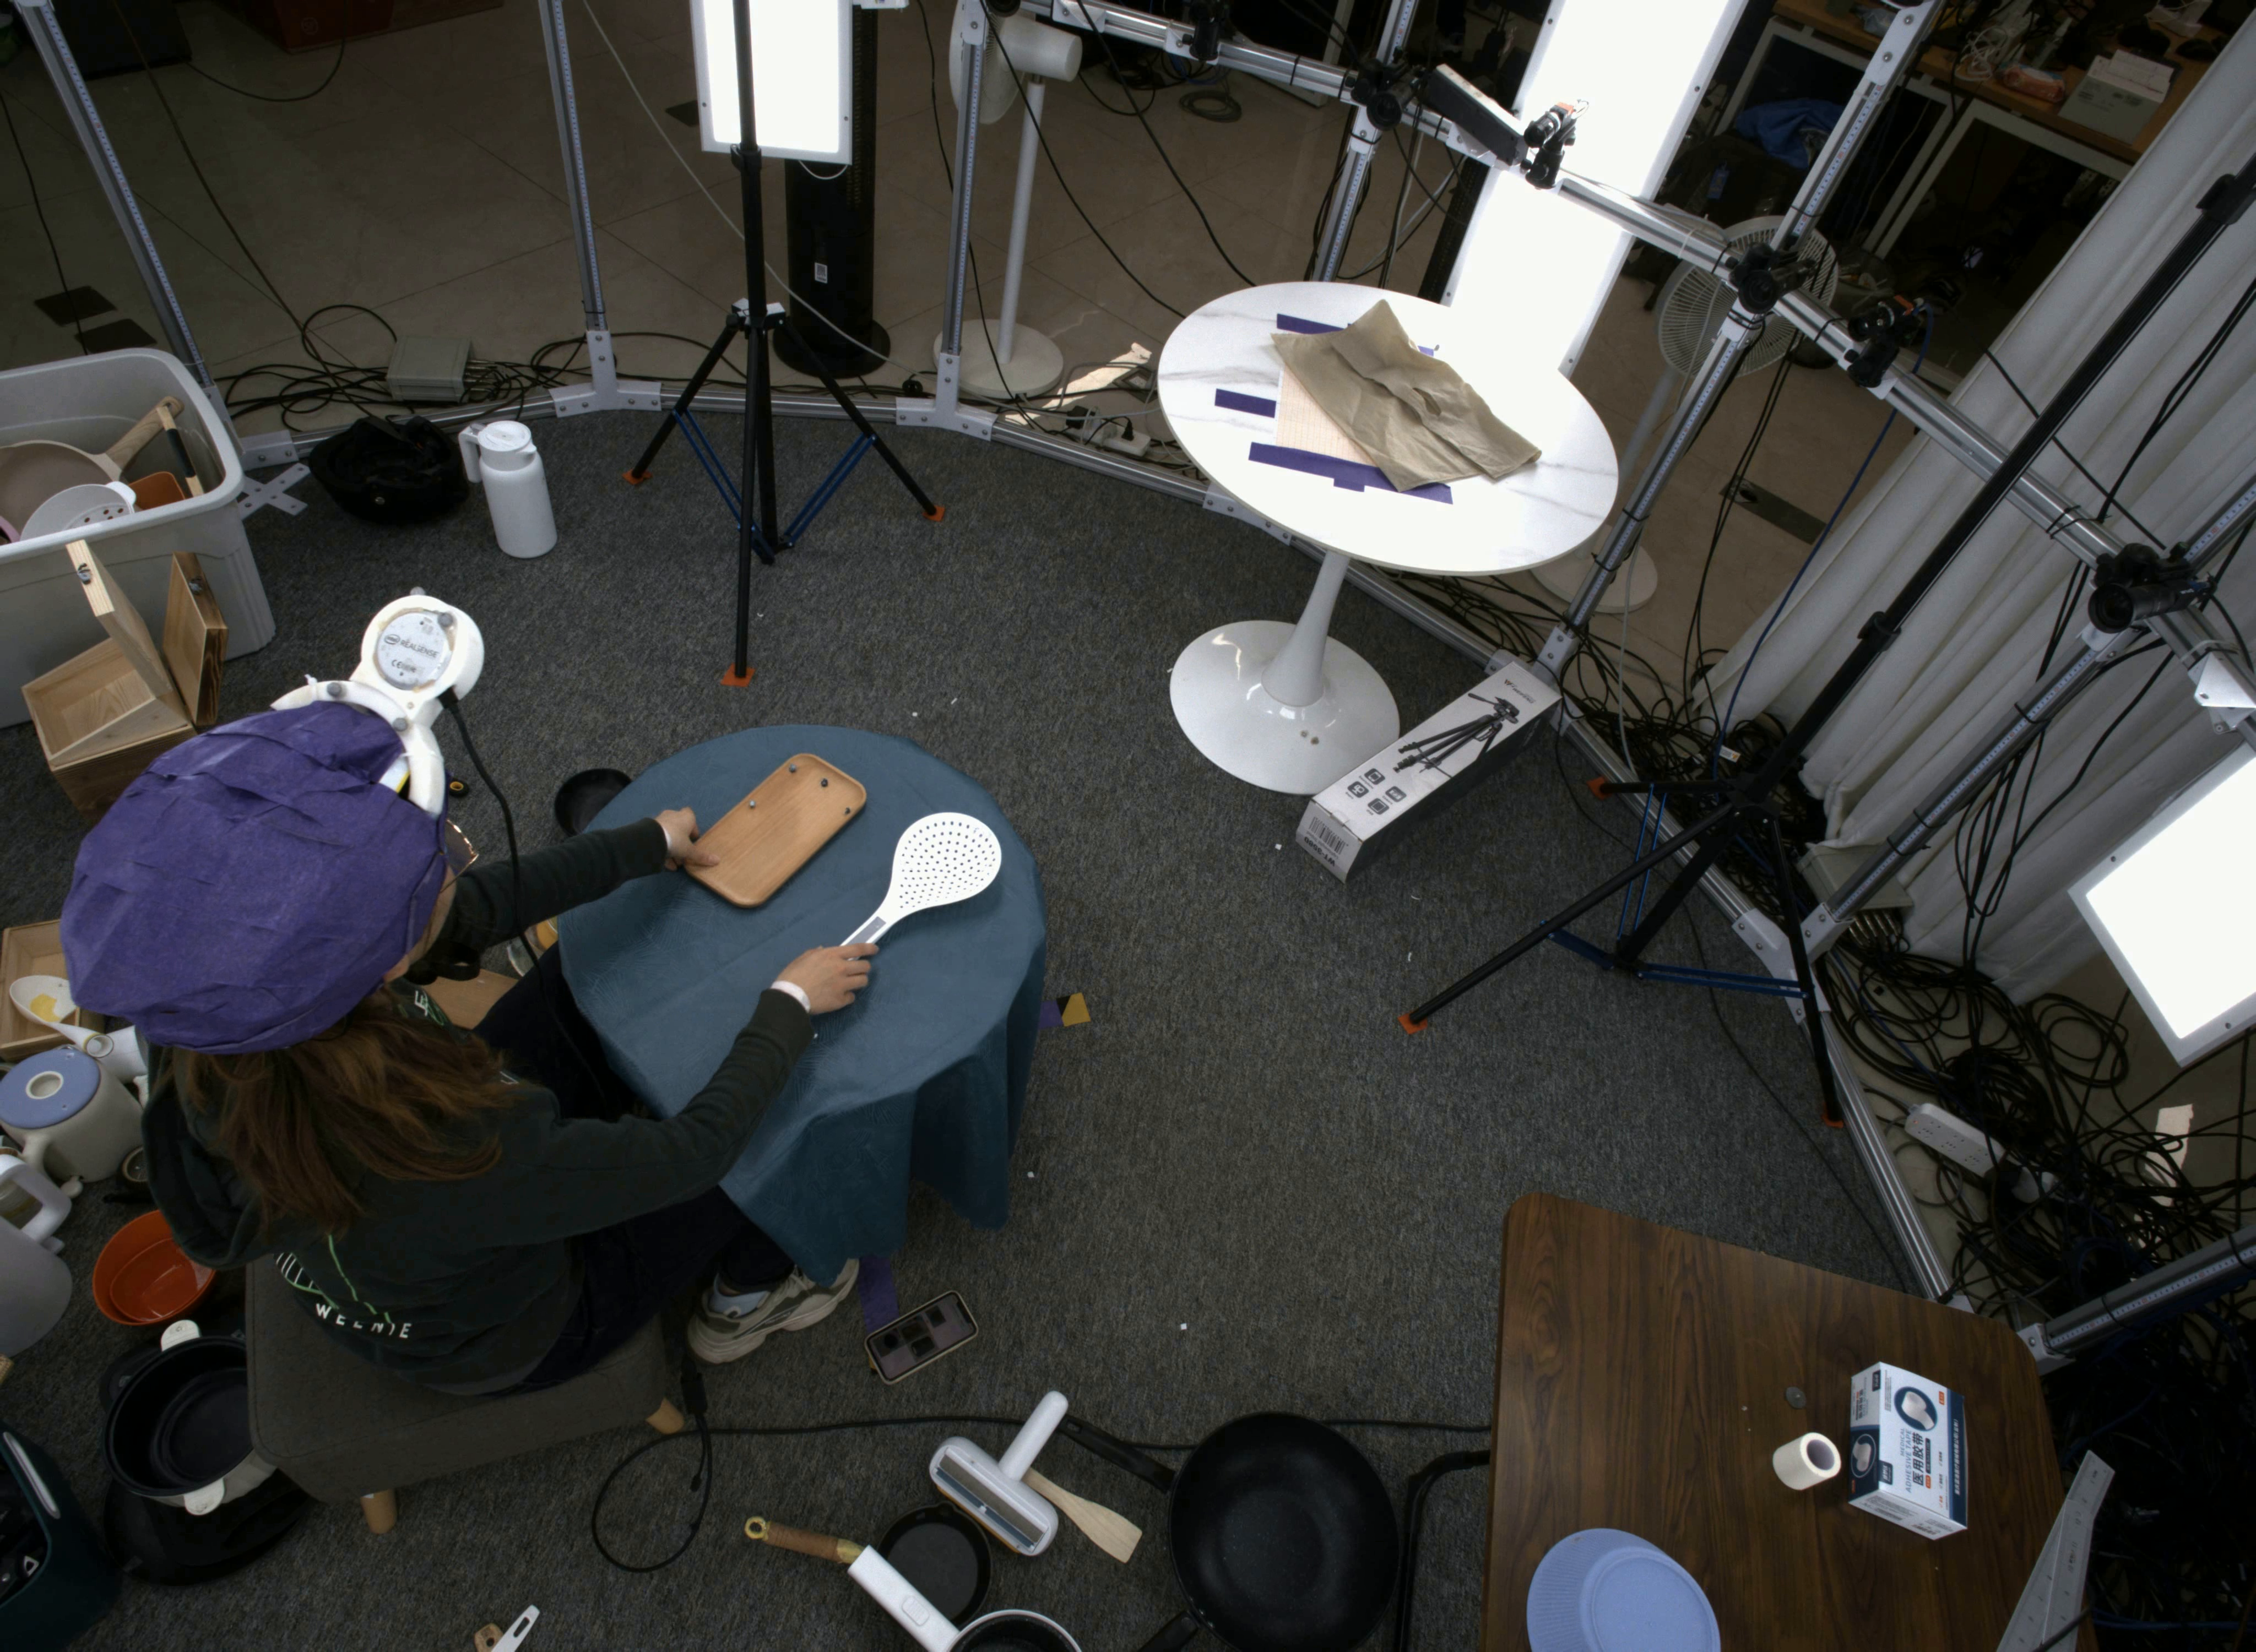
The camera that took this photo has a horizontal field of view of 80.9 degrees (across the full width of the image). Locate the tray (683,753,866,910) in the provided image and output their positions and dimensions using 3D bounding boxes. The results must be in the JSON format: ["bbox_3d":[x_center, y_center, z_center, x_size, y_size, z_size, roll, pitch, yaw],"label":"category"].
[{"bbox_3d":[-0.462,0.003,1.706,0.128,0.023,0.250,31,53,12],"label":"tray"}]

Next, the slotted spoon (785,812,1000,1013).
[{"bbox_3d":[-0.300,0.108,1.651,0.133,0.047,0.349,35,54,15],"label":"slotted spoon"}]
